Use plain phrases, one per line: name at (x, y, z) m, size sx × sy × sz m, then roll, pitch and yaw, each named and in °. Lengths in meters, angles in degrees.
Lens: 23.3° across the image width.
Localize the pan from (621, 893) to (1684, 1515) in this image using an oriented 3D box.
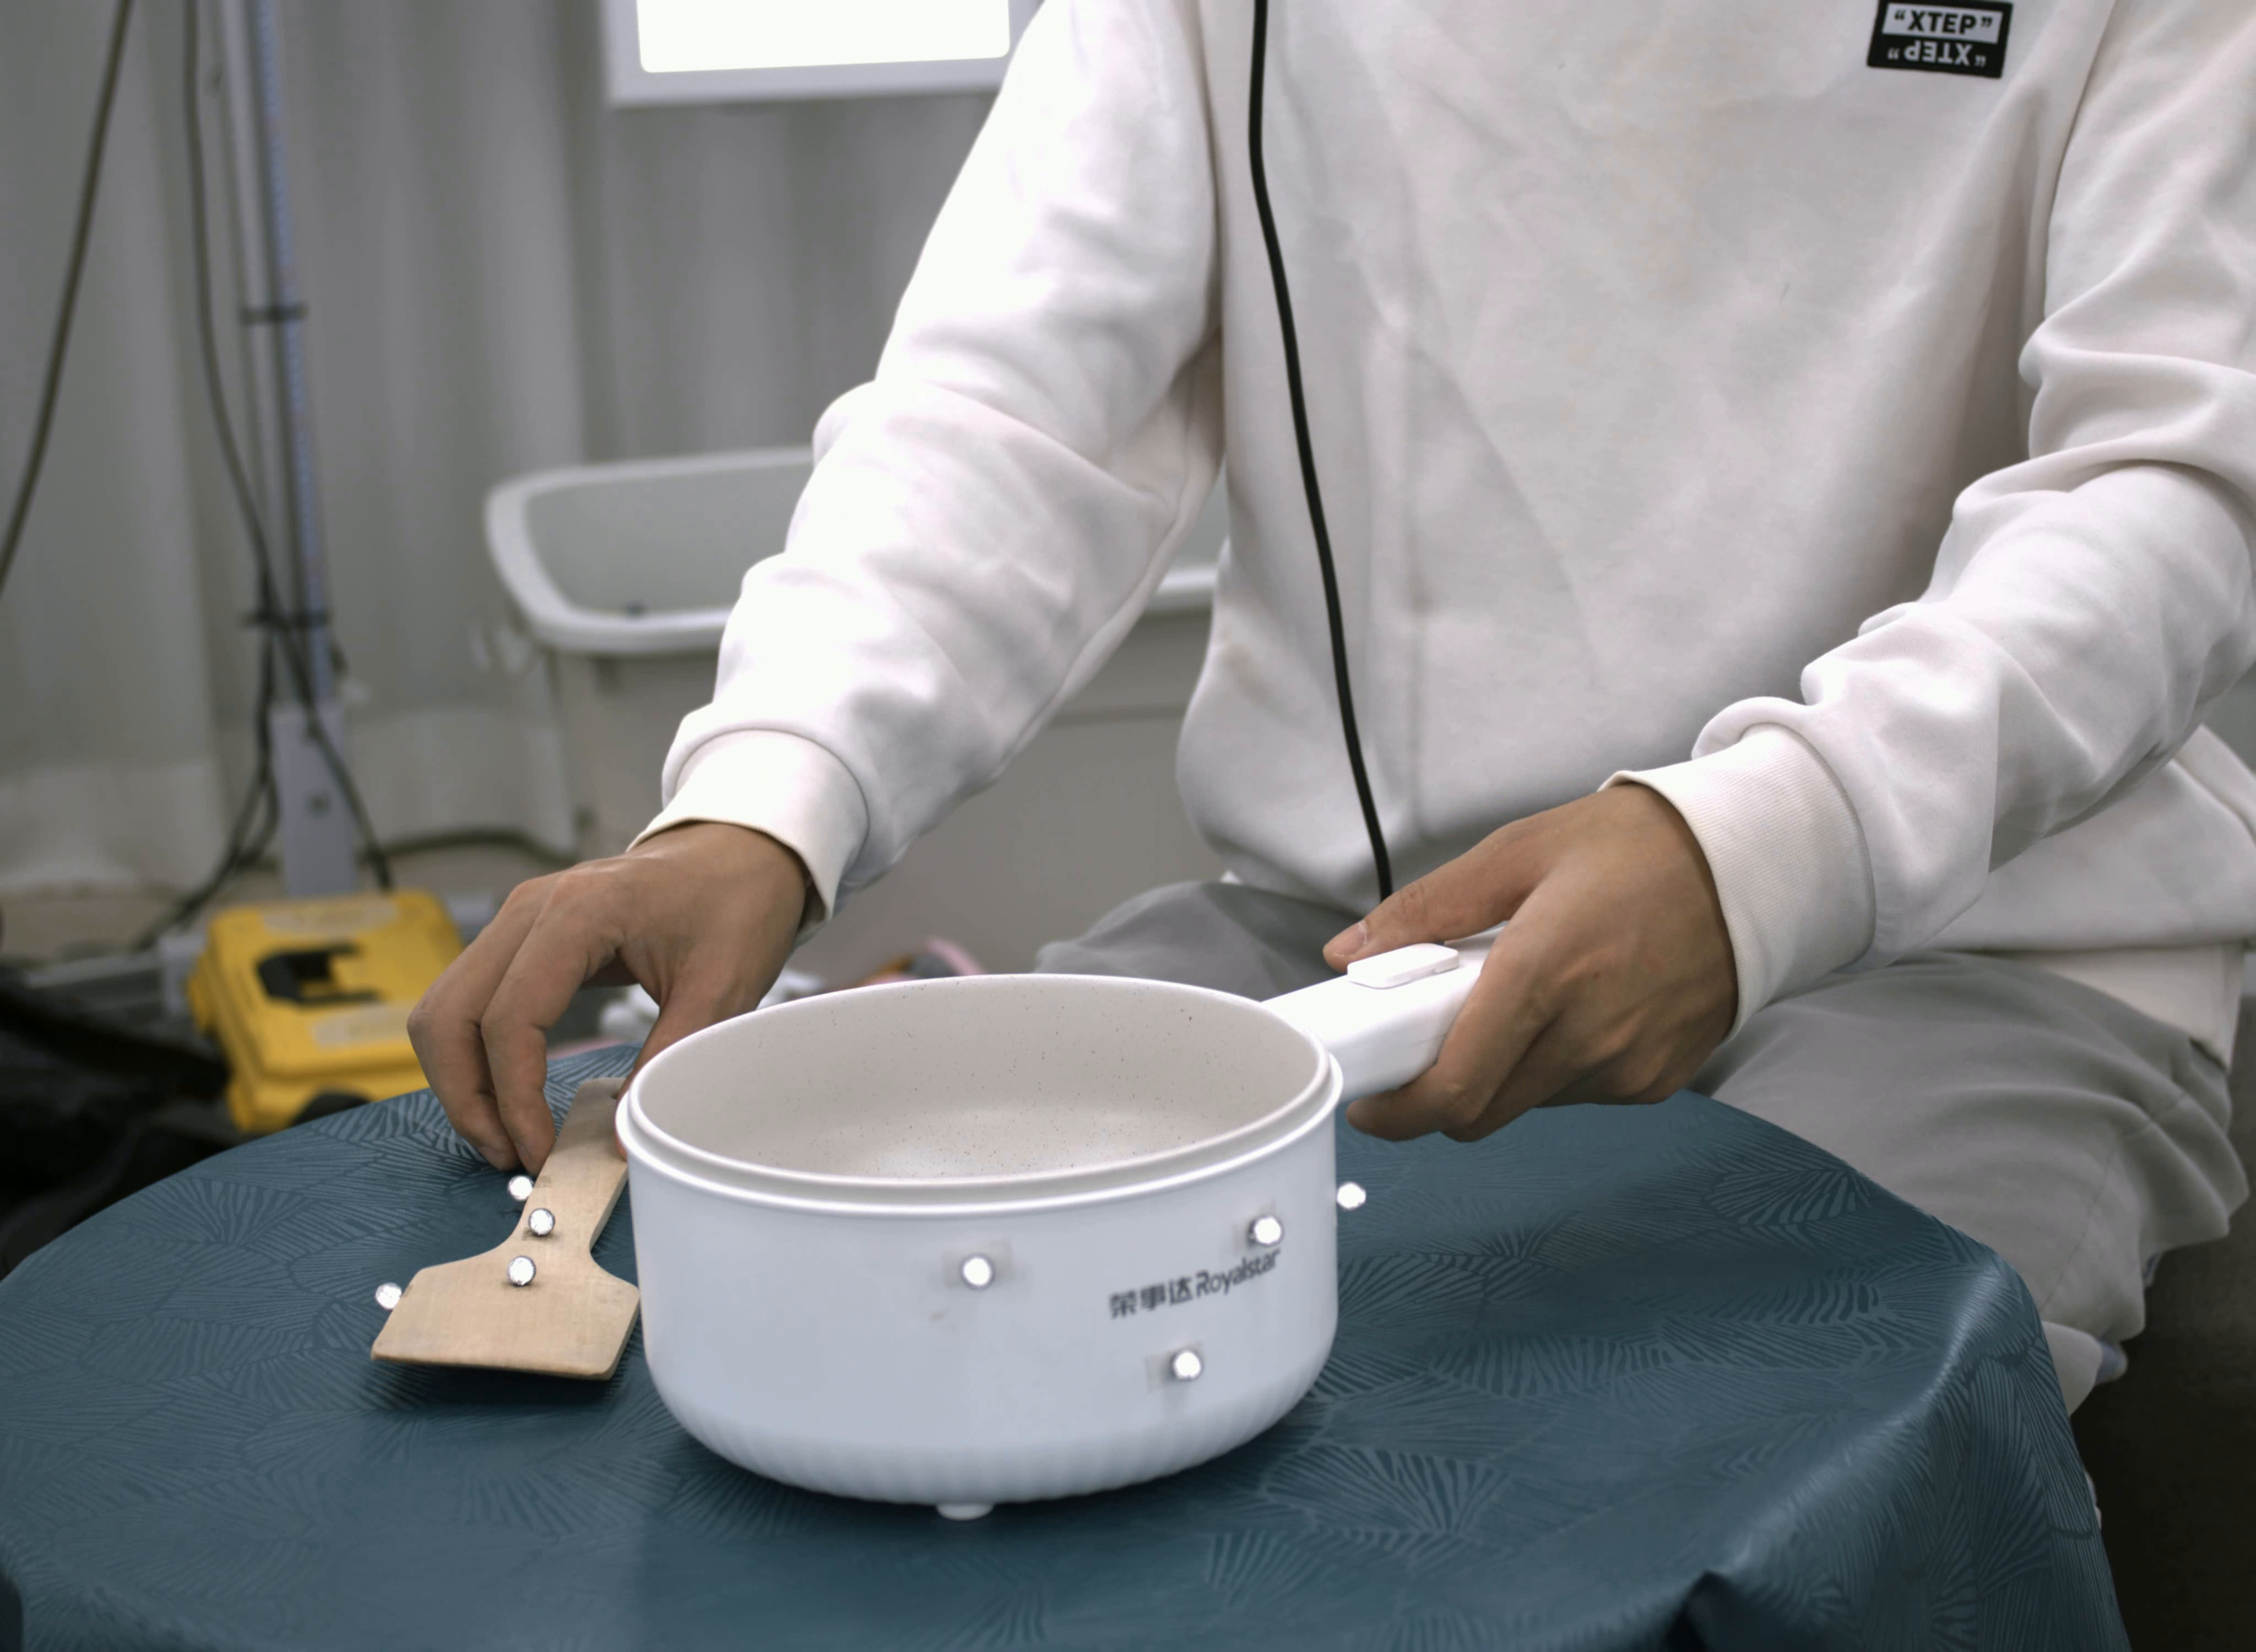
pan at (0.020, 0.101, 1.568) m, size 0.354 × 0.102 × 0.202 m, roll -14°, pitch 18°, yaw -38°

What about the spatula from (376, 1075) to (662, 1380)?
spatula at (-0.175, 0.122, 1.700) m, size 0.072 × 0.010 × 0.295 m, roll 2°, pitch 14°, yaw 2°
